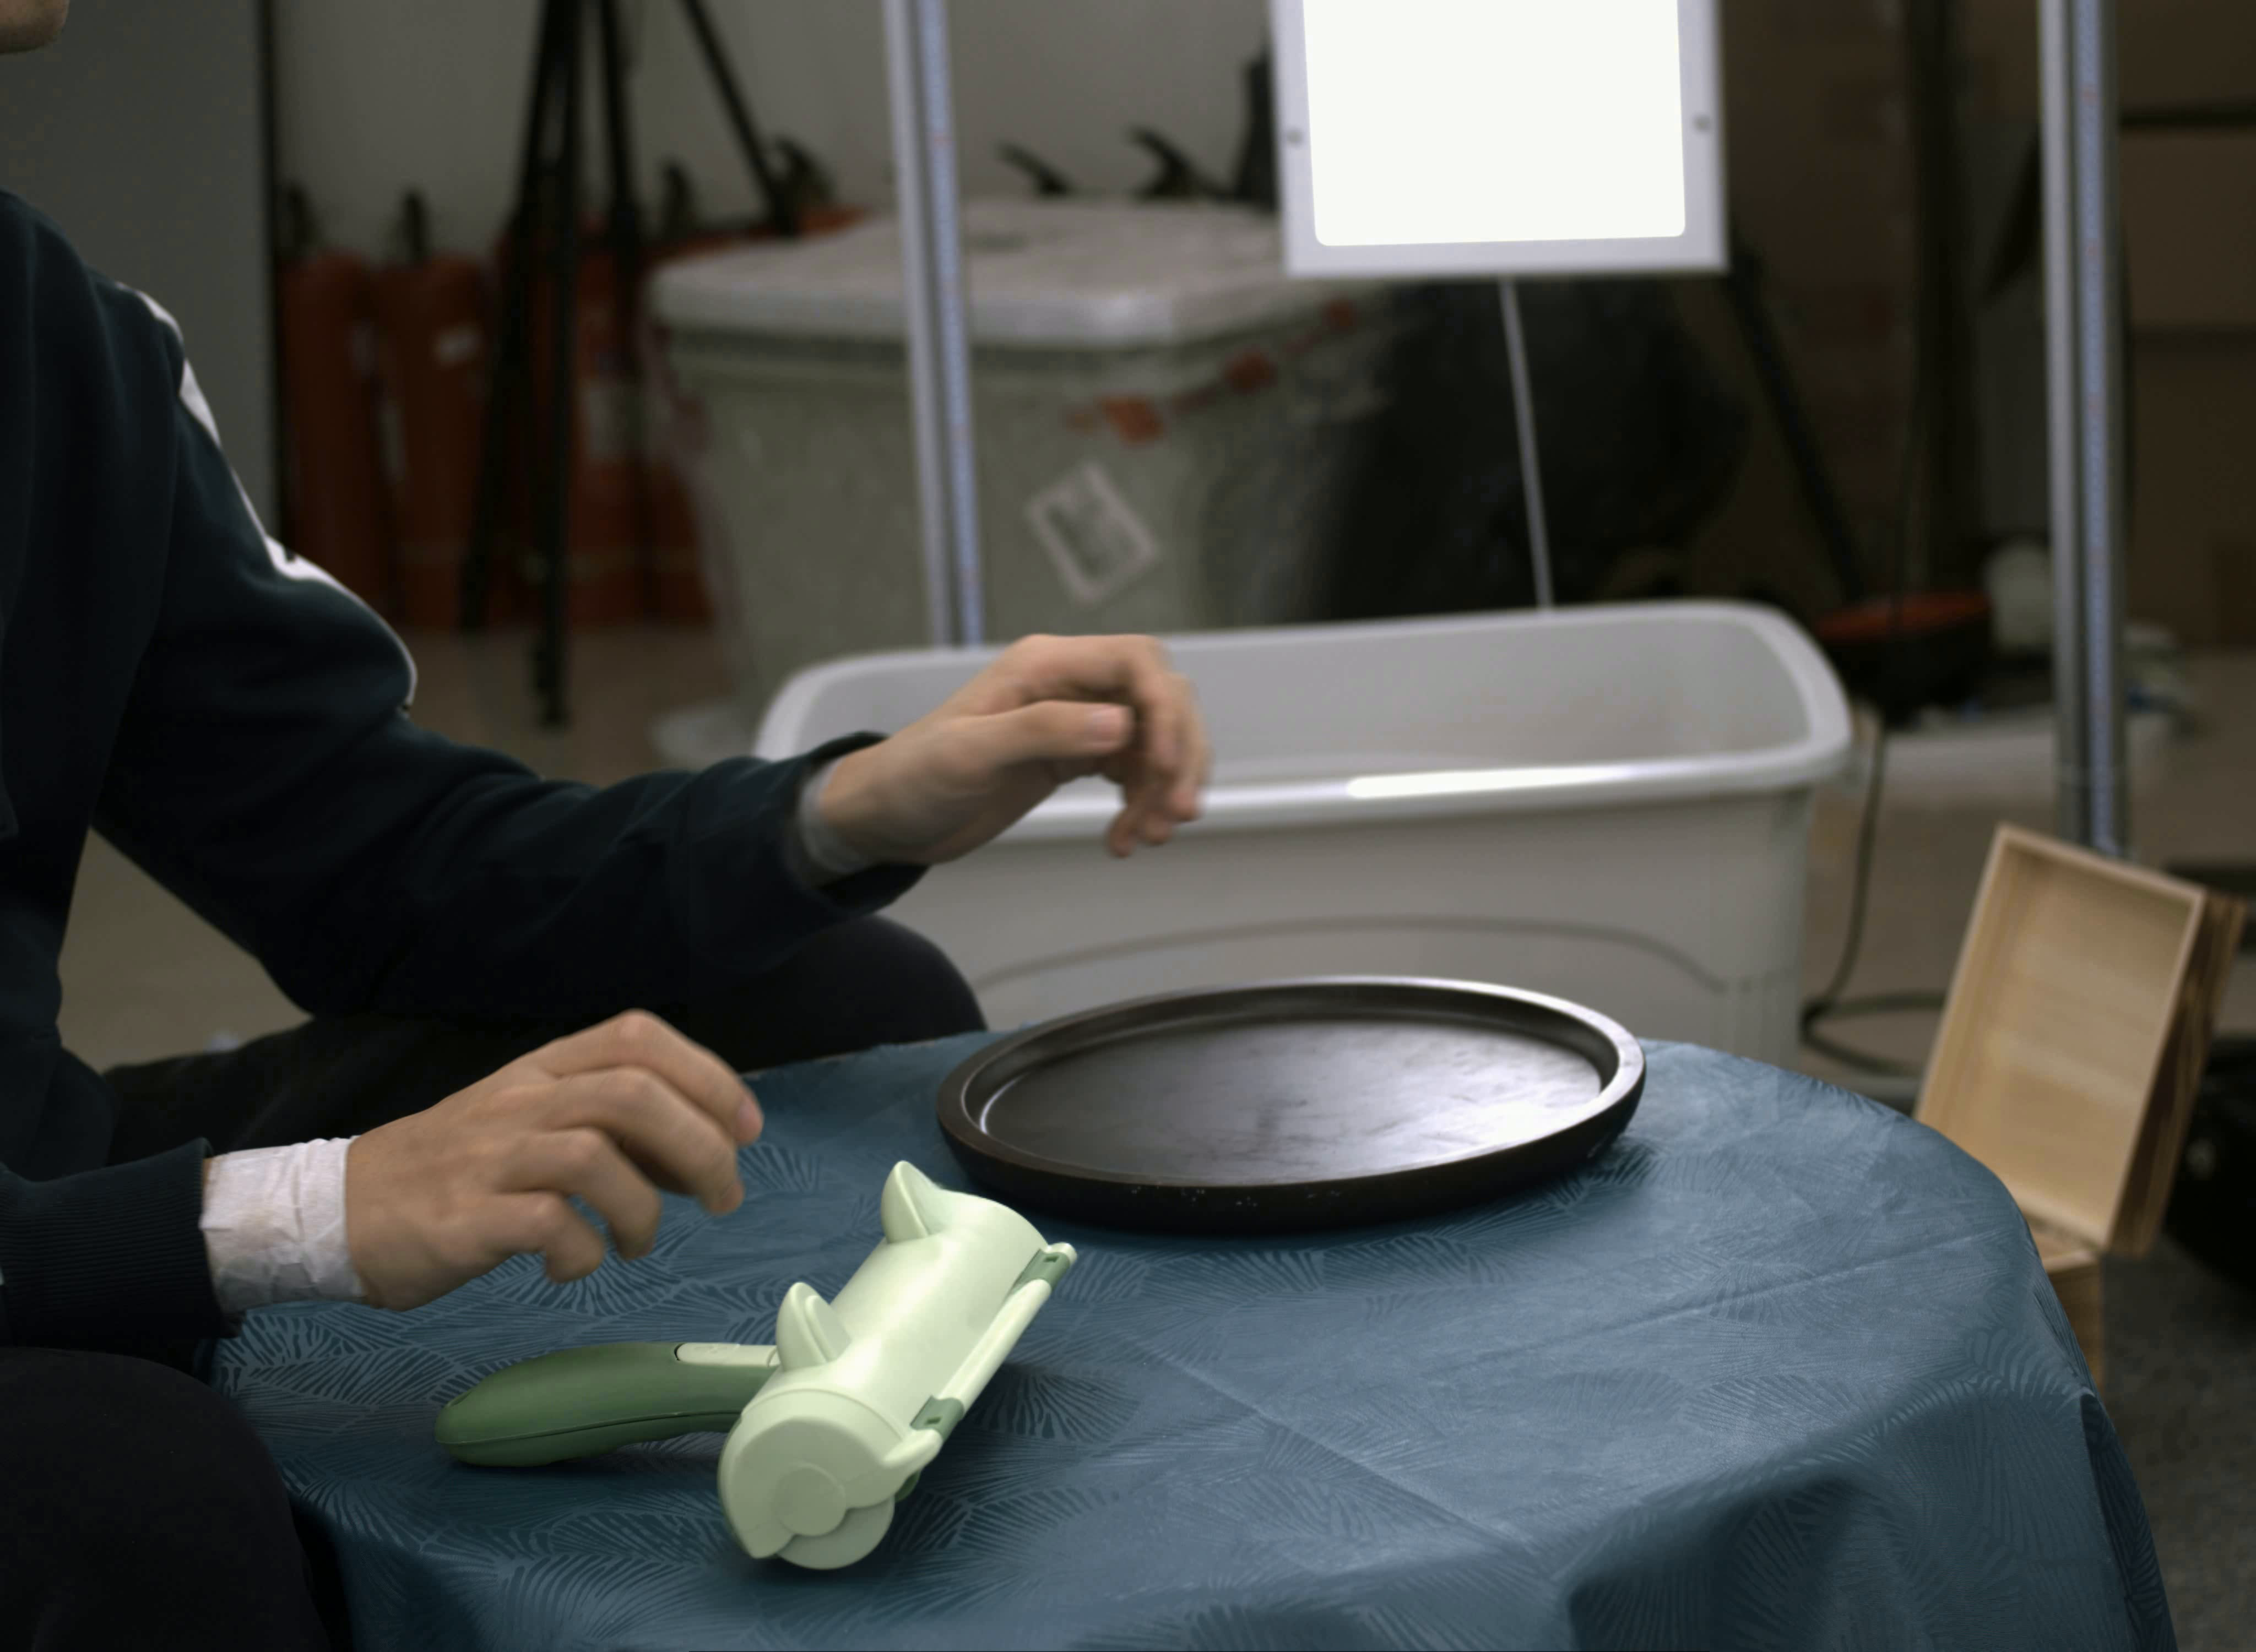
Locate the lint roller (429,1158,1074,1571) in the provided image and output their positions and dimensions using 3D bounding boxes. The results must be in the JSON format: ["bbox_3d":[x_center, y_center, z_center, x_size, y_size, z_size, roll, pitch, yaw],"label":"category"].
[{"bbox_3d":[-0.125,0.155,1.659,0.185,0.082,0.196,2,15,14],"label":"lint roller"}]

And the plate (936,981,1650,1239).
[{"bbox_3d":[0.058,0.098,1.941,0.254,0.029,0.254,-6,15,0],"label":"plate"}]
